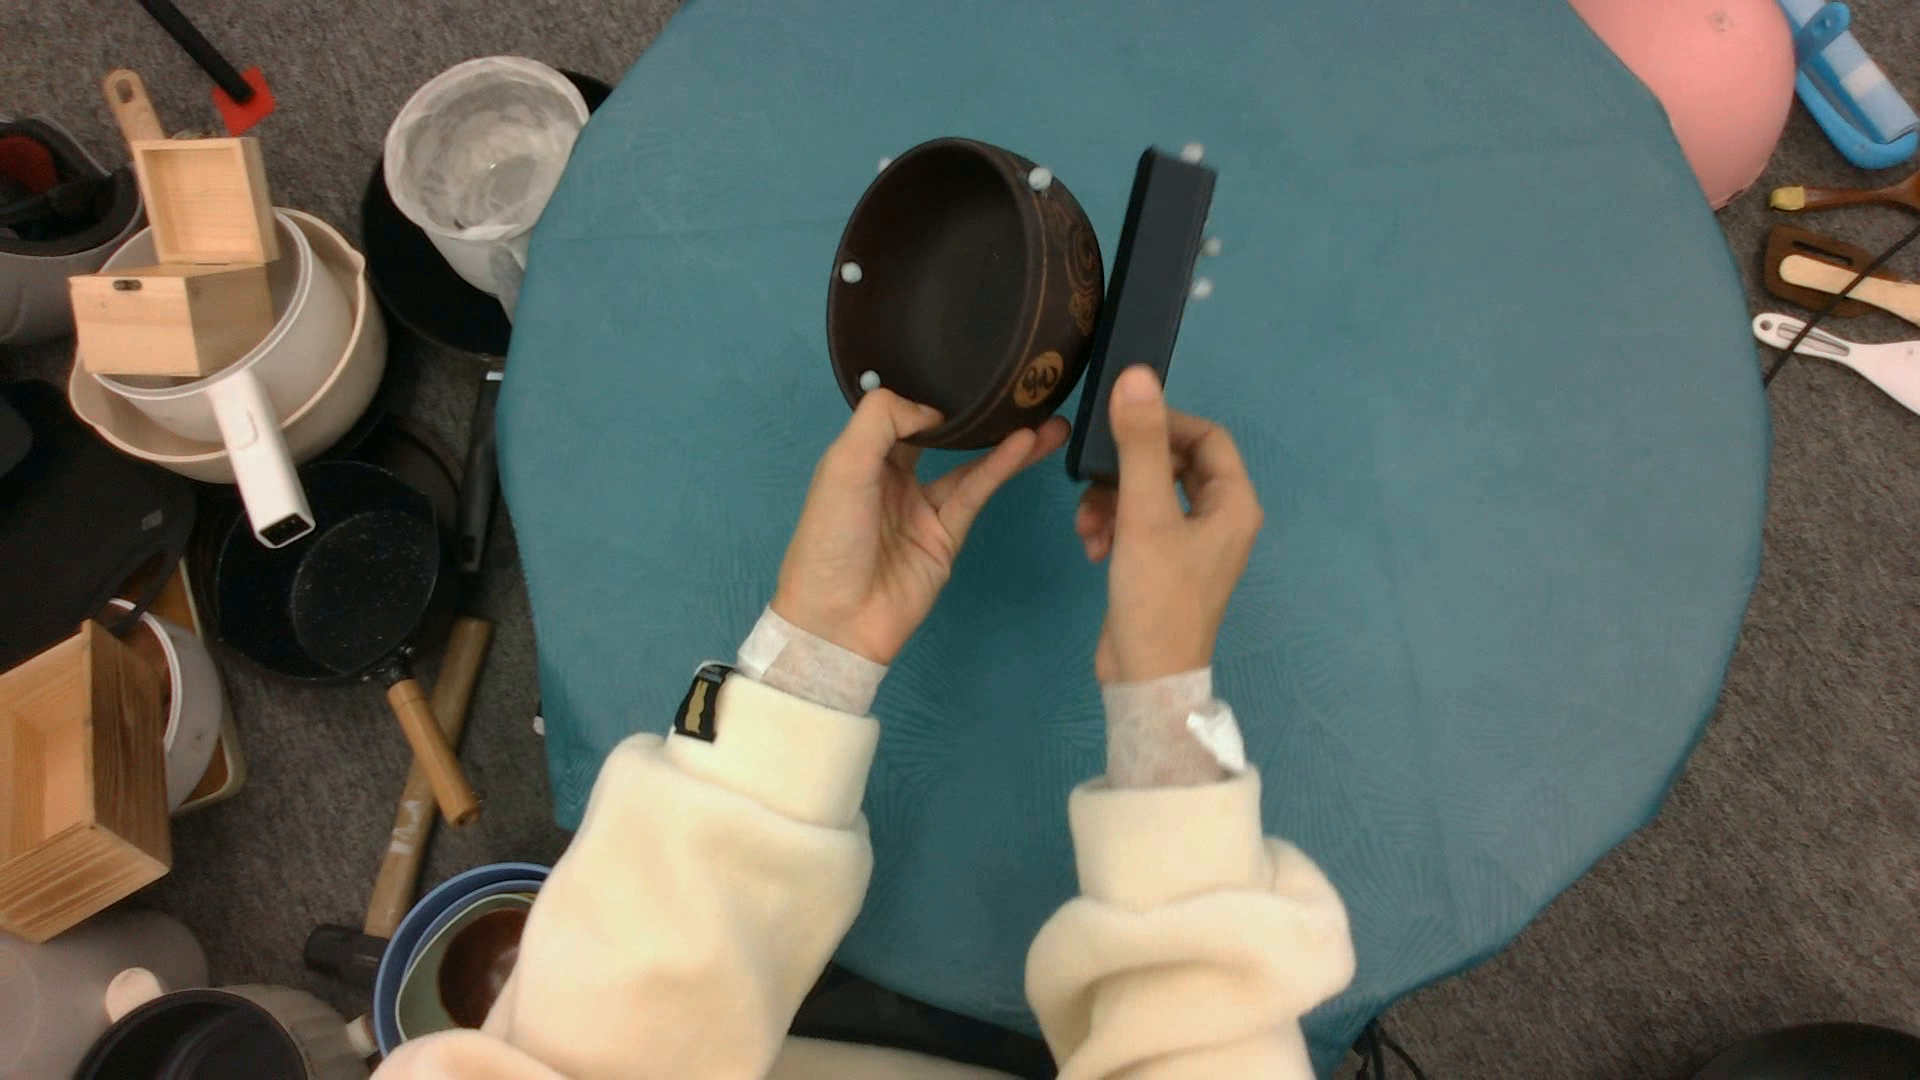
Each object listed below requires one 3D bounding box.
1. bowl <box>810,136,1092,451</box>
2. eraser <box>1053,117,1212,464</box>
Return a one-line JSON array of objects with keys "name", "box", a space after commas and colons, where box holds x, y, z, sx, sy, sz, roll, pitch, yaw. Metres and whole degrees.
[{"name": "bowl", "box": [0.004, -0.093, 0.540, 0.118, 0.070, 0.118, 1, 92, 45]}, {"name": "eraser", "box": [0.066, -0.094, 0.526, 0.030, 0.053, 0.125, 15, 88, 6]}]
